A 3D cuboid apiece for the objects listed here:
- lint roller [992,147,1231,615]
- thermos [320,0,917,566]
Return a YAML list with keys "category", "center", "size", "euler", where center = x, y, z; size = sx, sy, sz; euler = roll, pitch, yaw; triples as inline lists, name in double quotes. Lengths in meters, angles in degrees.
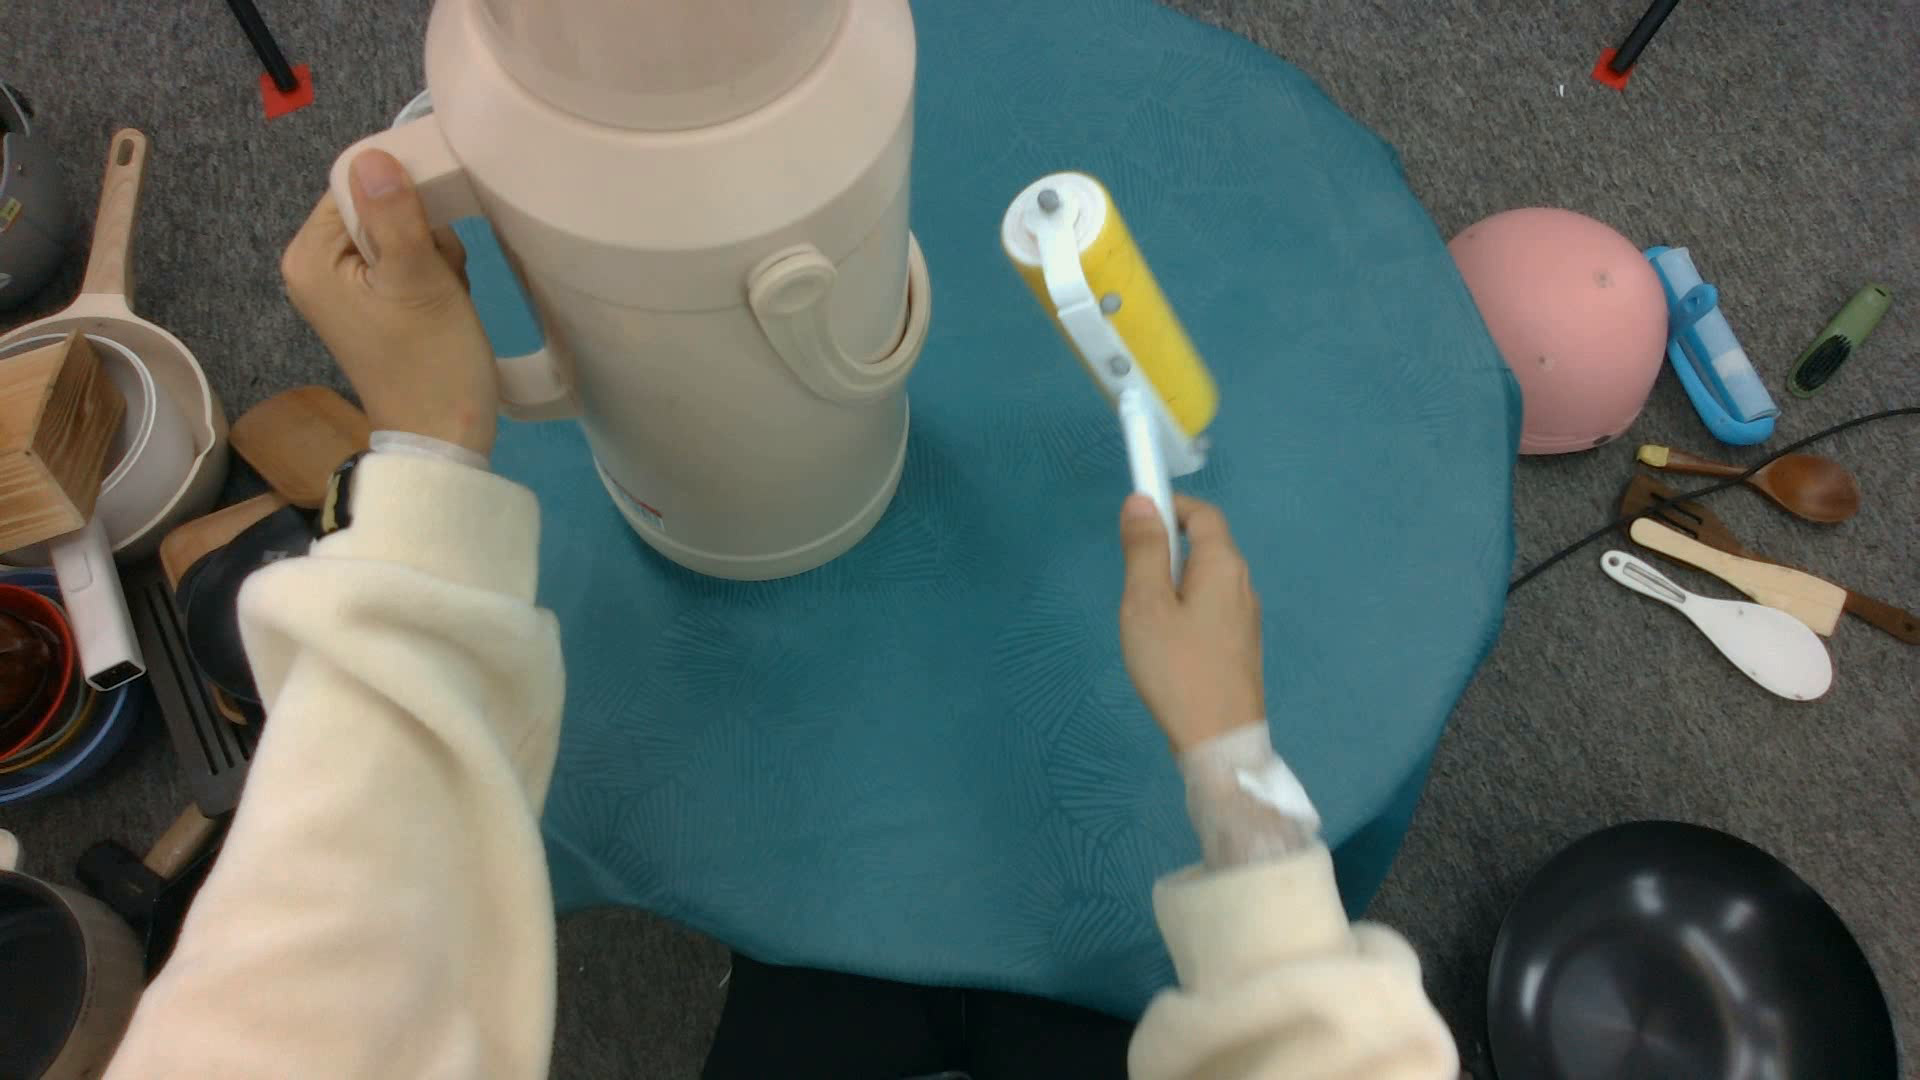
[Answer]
- category: "lint roller"
  center: [0.092, -0.058, 0.604]
  size: [0.051, 0.174, 0.192]
  euler: [-30, 54, 19]
- category: "thermos"
  center: [-0.116, -0.126, 0.537]
  size: [0.207, 0.405, 0.175]
  euler: [-26, 73, -13]
